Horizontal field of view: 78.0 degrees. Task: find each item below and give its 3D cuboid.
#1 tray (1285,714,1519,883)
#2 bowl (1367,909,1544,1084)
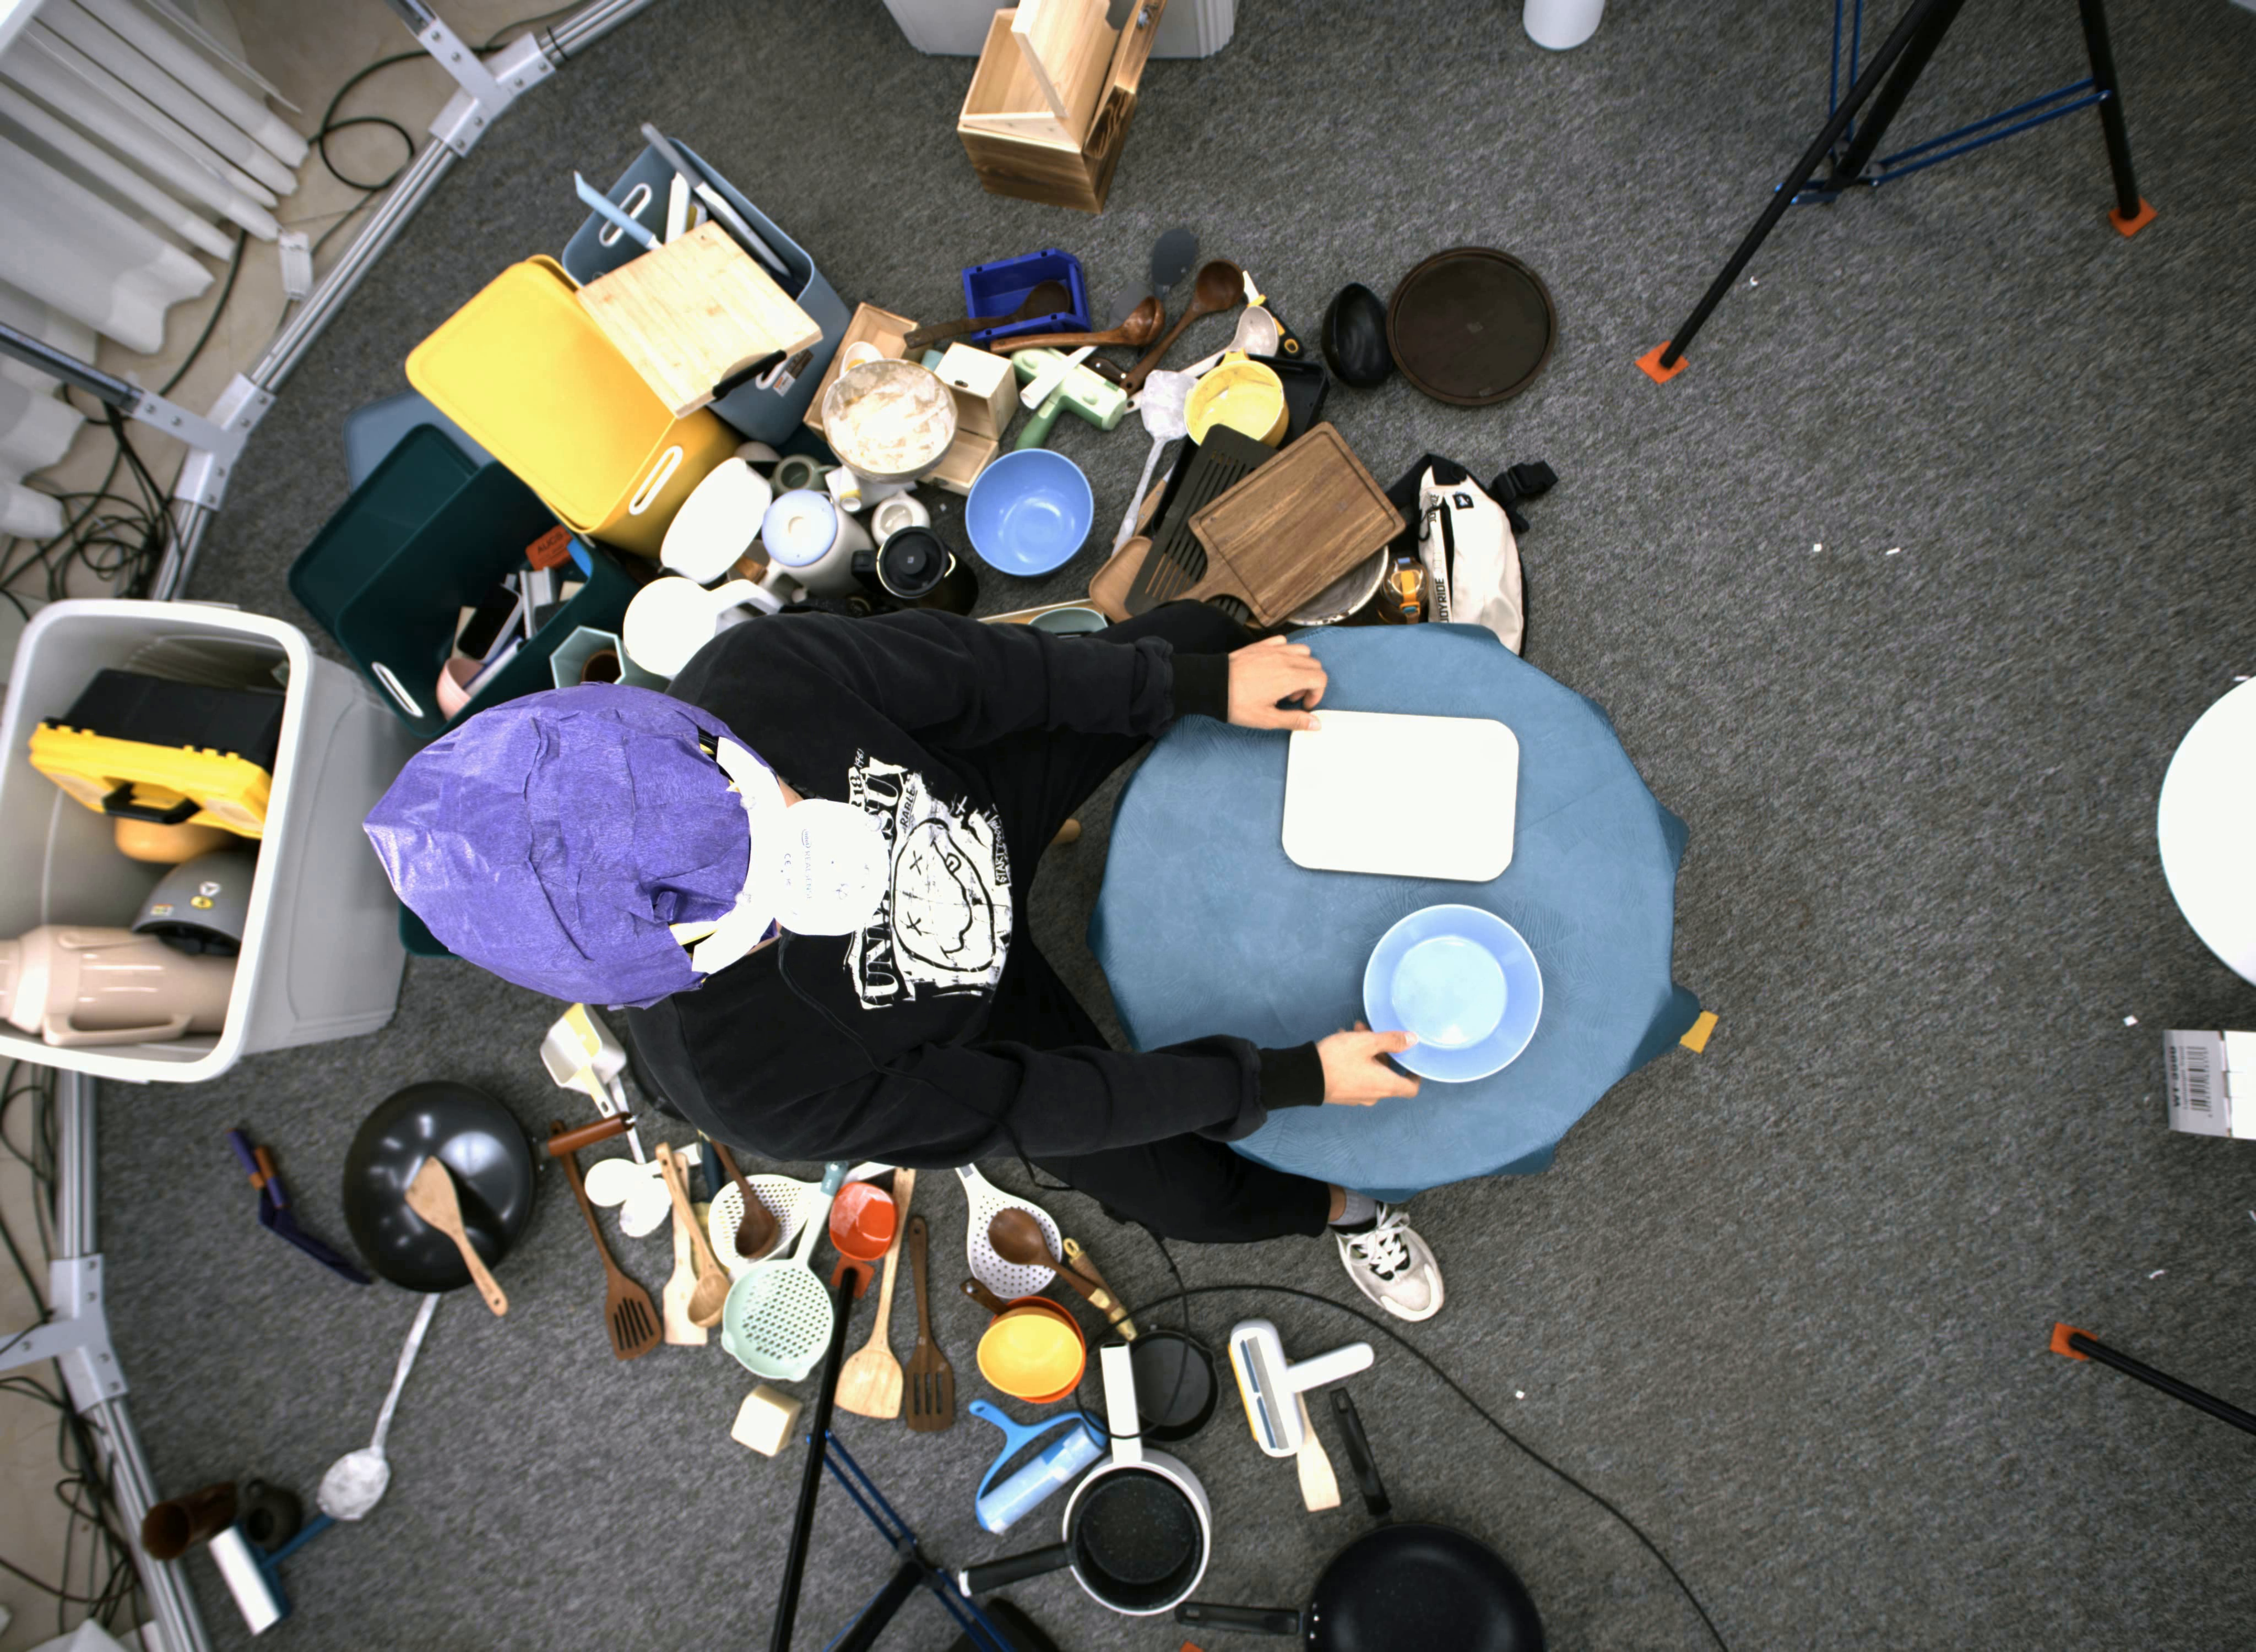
[{"bbox_3d":[0.289,-0.031,1.459,0.240,0.017,0.170,4,86,11],"label":"tray"},{"bbox_3d":[0.332,0.173,1.411,0.177,0.070,0.175,-1,85,10],"label":"bowl"}]
